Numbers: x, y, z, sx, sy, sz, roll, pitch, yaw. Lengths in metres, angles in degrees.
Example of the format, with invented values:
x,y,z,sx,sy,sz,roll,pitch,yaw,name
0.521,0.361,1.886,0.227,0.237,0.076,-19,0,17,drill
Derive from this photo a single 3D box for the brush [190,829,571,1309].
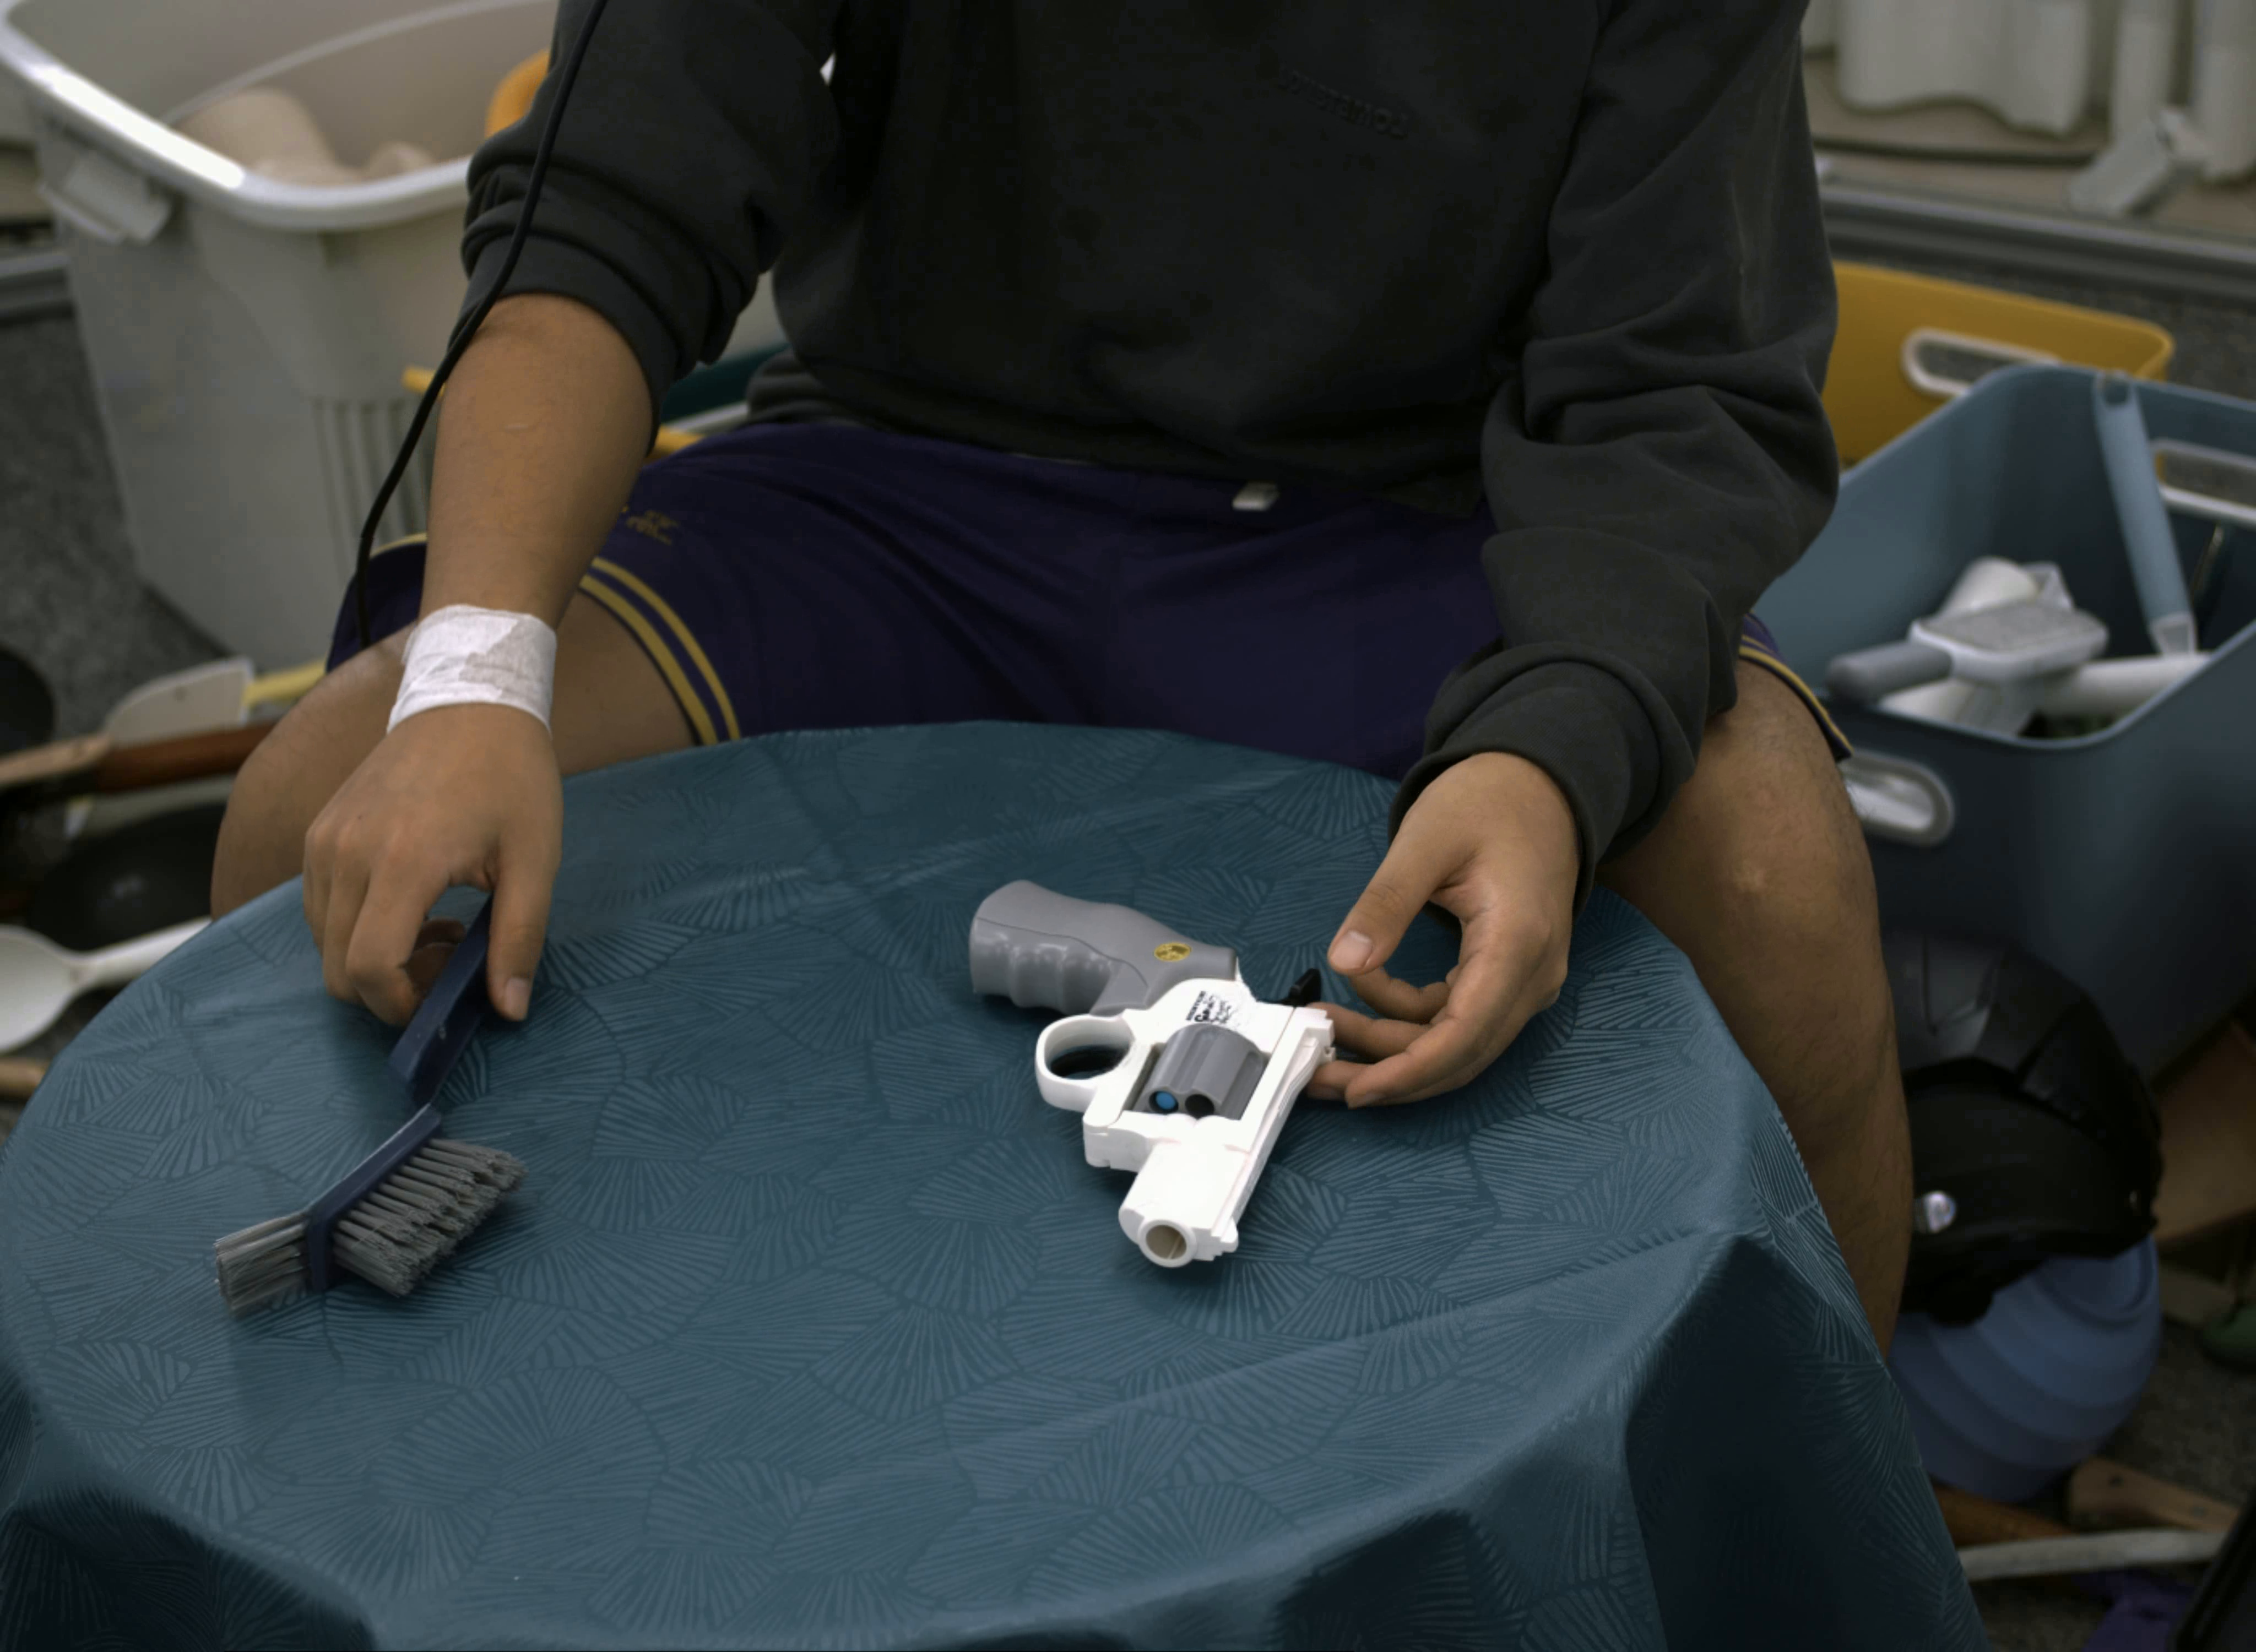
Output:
x,y,z,sx,sy,sz,roll,pitch,yaw,name
-0.248,0.081,1.932,0.095,0.033,0.277,-1,28,5,brush

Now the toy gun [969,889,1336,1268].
x,y,z,sx,sy,sz,roll,pitch,yaw,name
-0.004,0.082,1.898,0.140,0.038,0.213,3,28,15,toy gun
